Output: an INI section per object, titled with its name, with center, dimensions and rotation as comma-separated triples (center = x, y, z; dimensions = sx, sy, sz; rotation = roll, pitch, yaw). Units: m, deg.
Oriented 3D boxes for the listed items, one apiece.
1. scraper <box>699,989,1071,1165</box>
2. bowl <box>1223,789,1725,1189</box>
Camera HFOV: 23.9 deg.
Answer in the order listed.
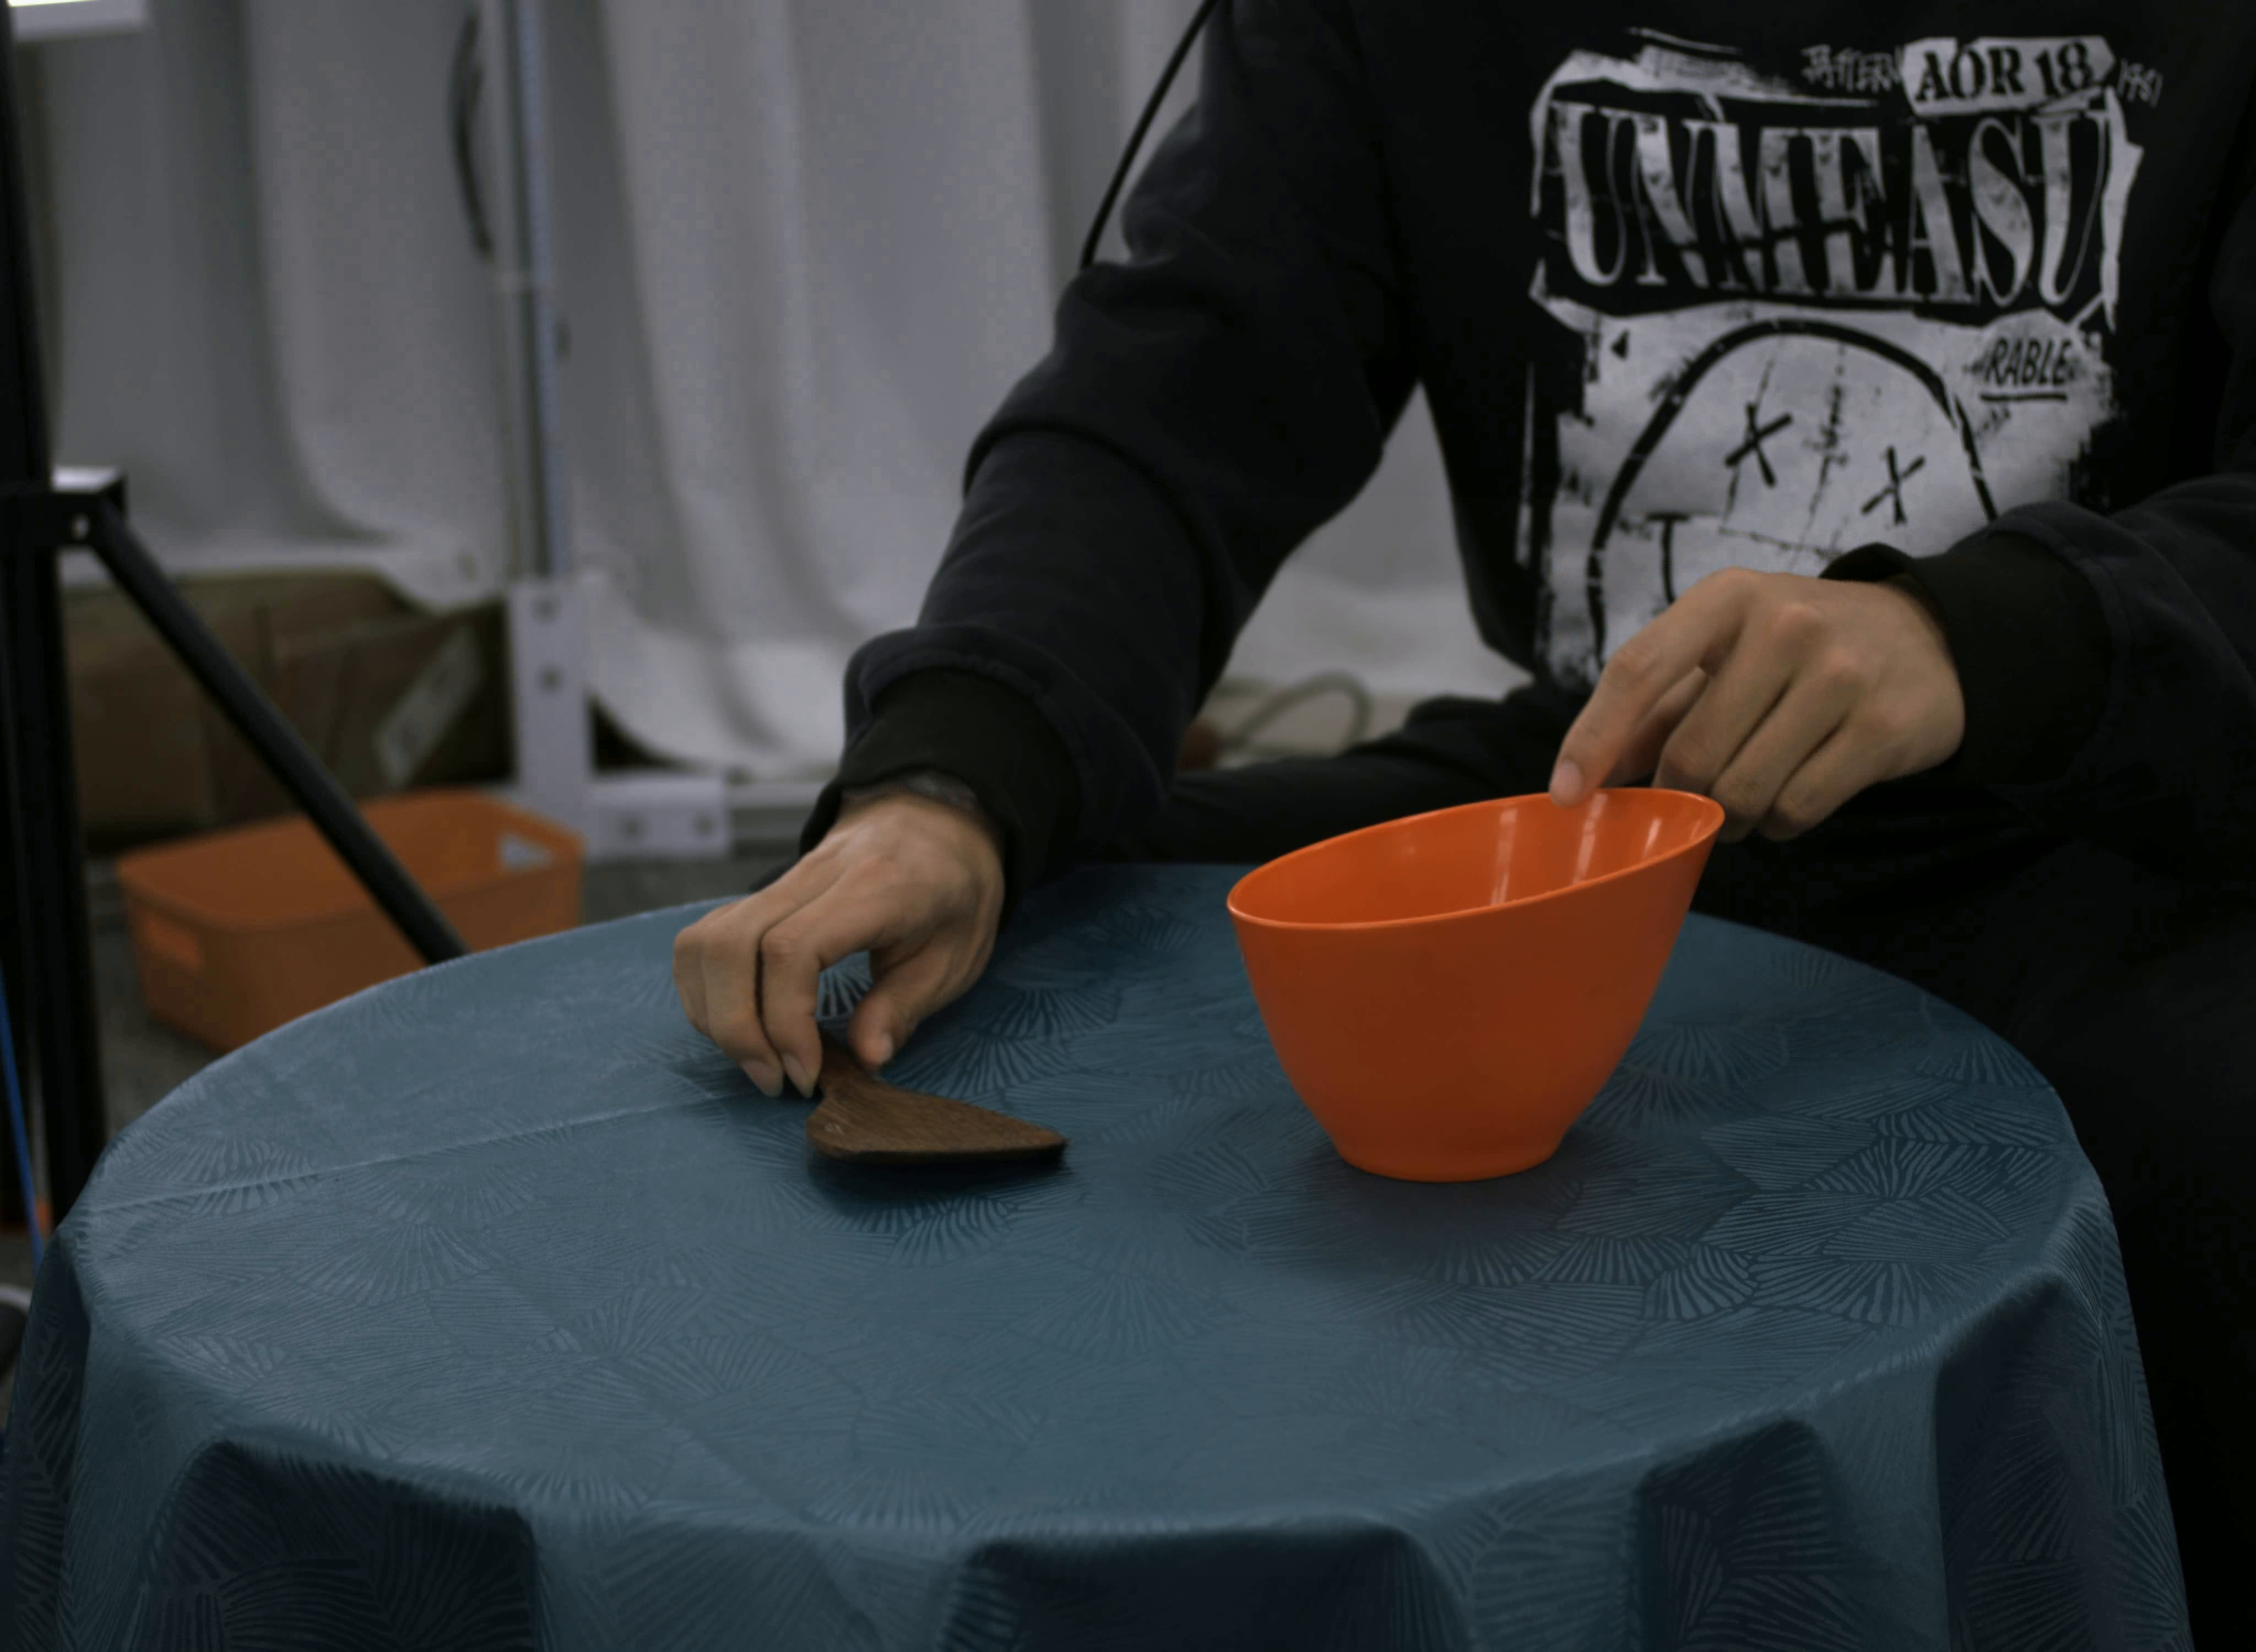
[scraper]
center = -0.088, 0.078, 1.656
dimensions = 0.074, 0.011, 0.215
rotation = 0, 12, -23
[bowl]
center = 0.102, 0.049, 1.564
dimensions = 0.147, 0.104, 0.149
rotation = -3, 16, -1
